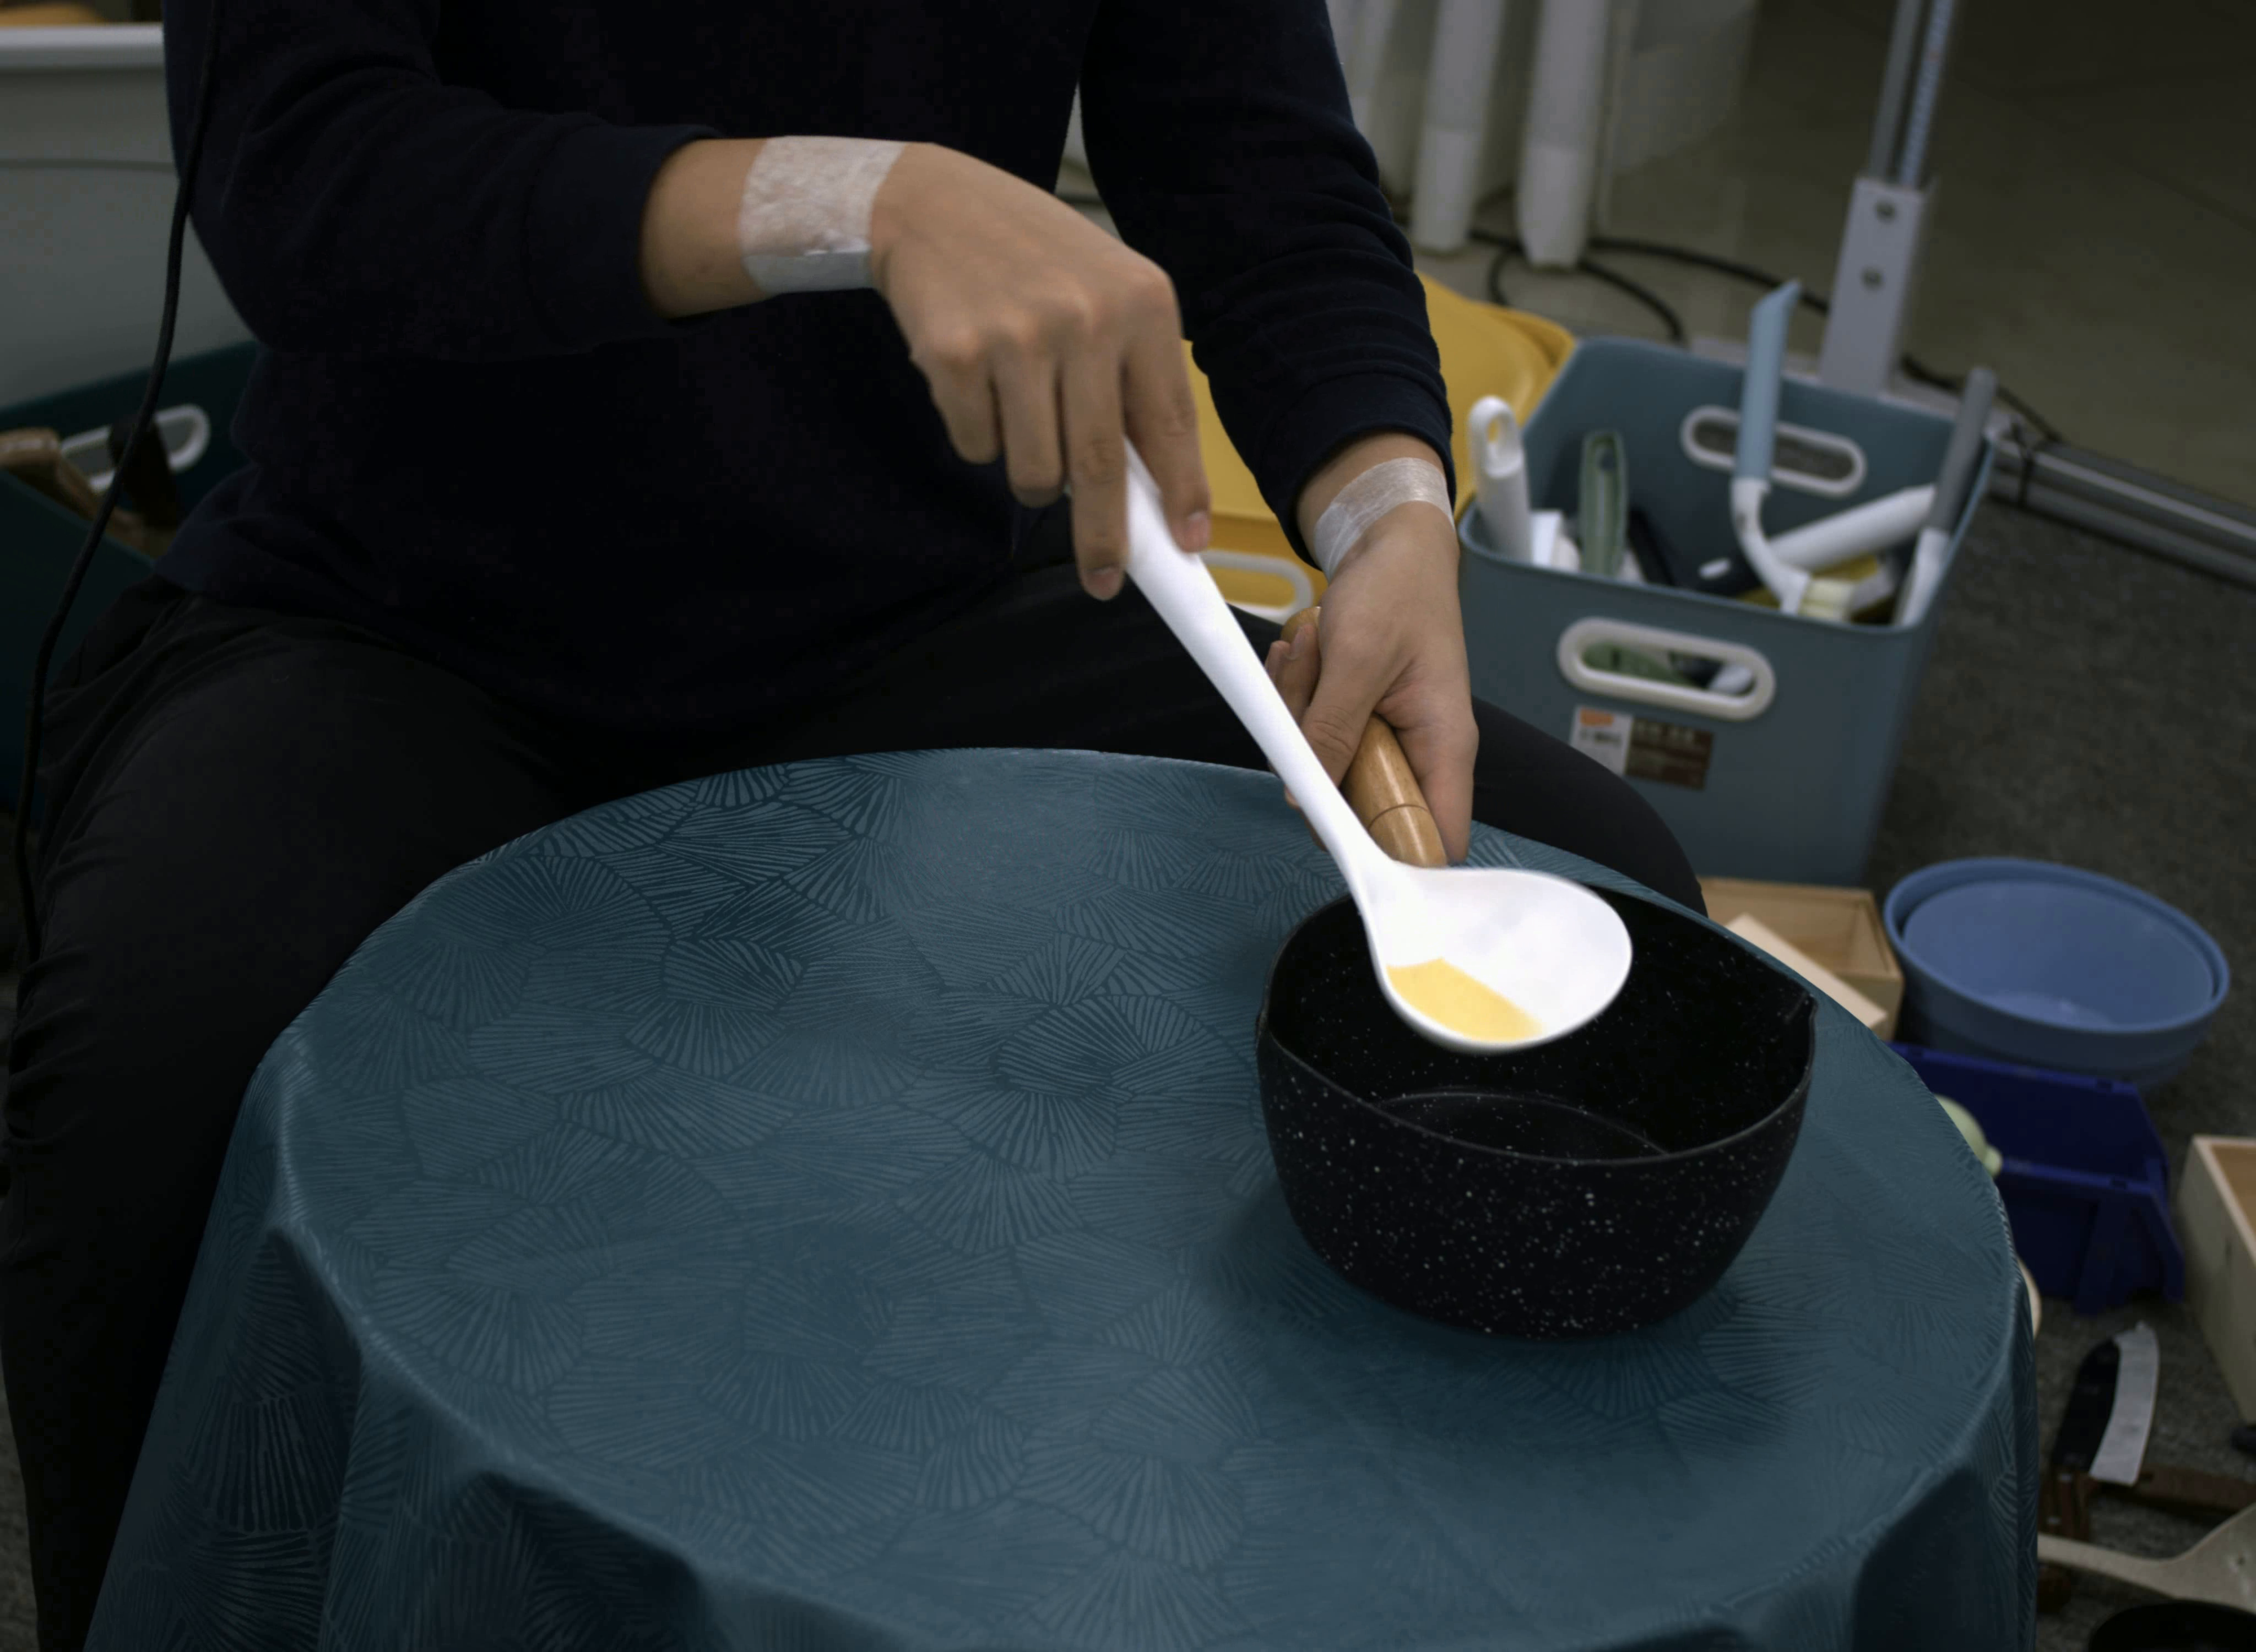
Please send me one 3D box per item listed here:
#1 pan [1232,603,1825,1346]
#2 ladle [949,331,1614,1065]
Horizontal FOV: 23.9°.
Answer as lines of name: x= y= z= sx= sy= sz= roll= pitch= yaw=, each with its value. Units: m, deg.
pan: x=0.110 y=0.048 z=1.847 sx=0.206 sy=0.108 sz=0.346 roll=-5 pitch=32 yaw=-18
ladle: x=0.045 y=-0.044 z=1.755 sx=0.090 sy=0.070 sz=0.293 roll=-36 pitch=89 yaw=-27
